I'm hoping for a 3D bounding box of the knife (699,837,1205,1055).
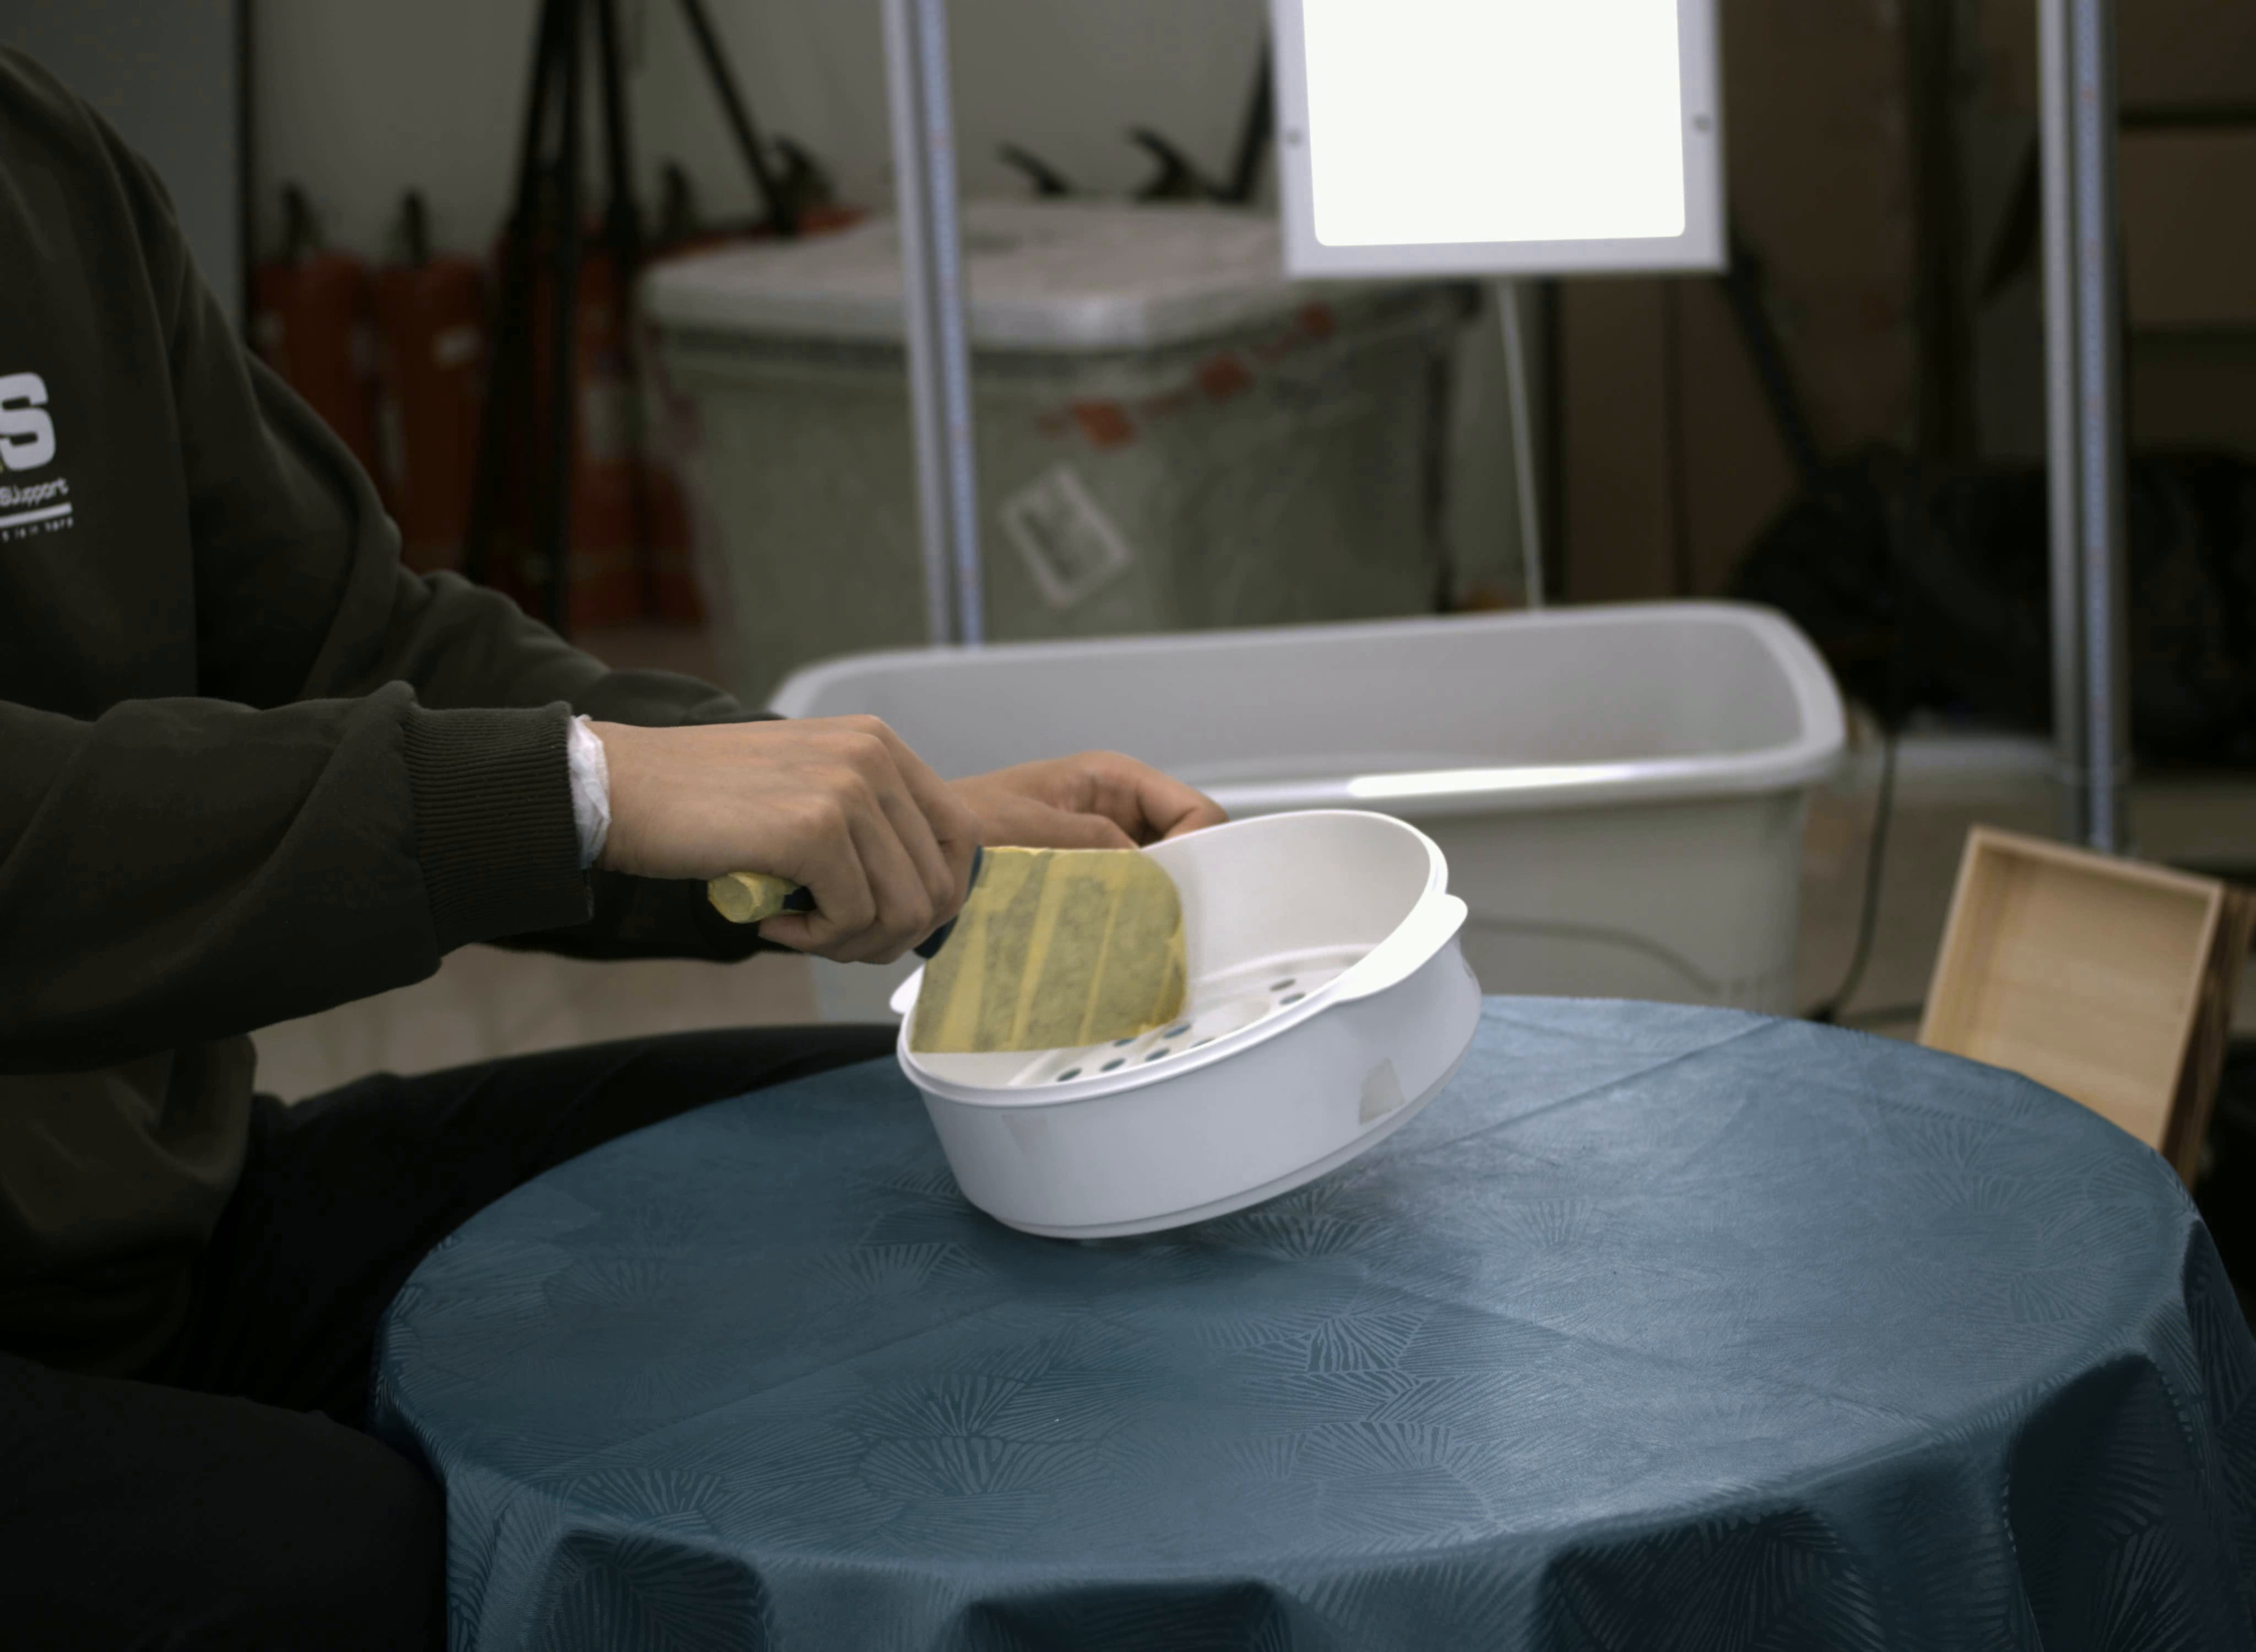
[{"bbox_3d":[-0.053,0.038,1.863,0.028,0.081,0.283,15,5,35],"label":"knife"}]

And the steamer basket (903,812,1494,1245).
[{"bbox_3d":[0.028,0.070,1.896,0.236,0.069,0.197,-5,25,42],"label":"steamer basket"}]
